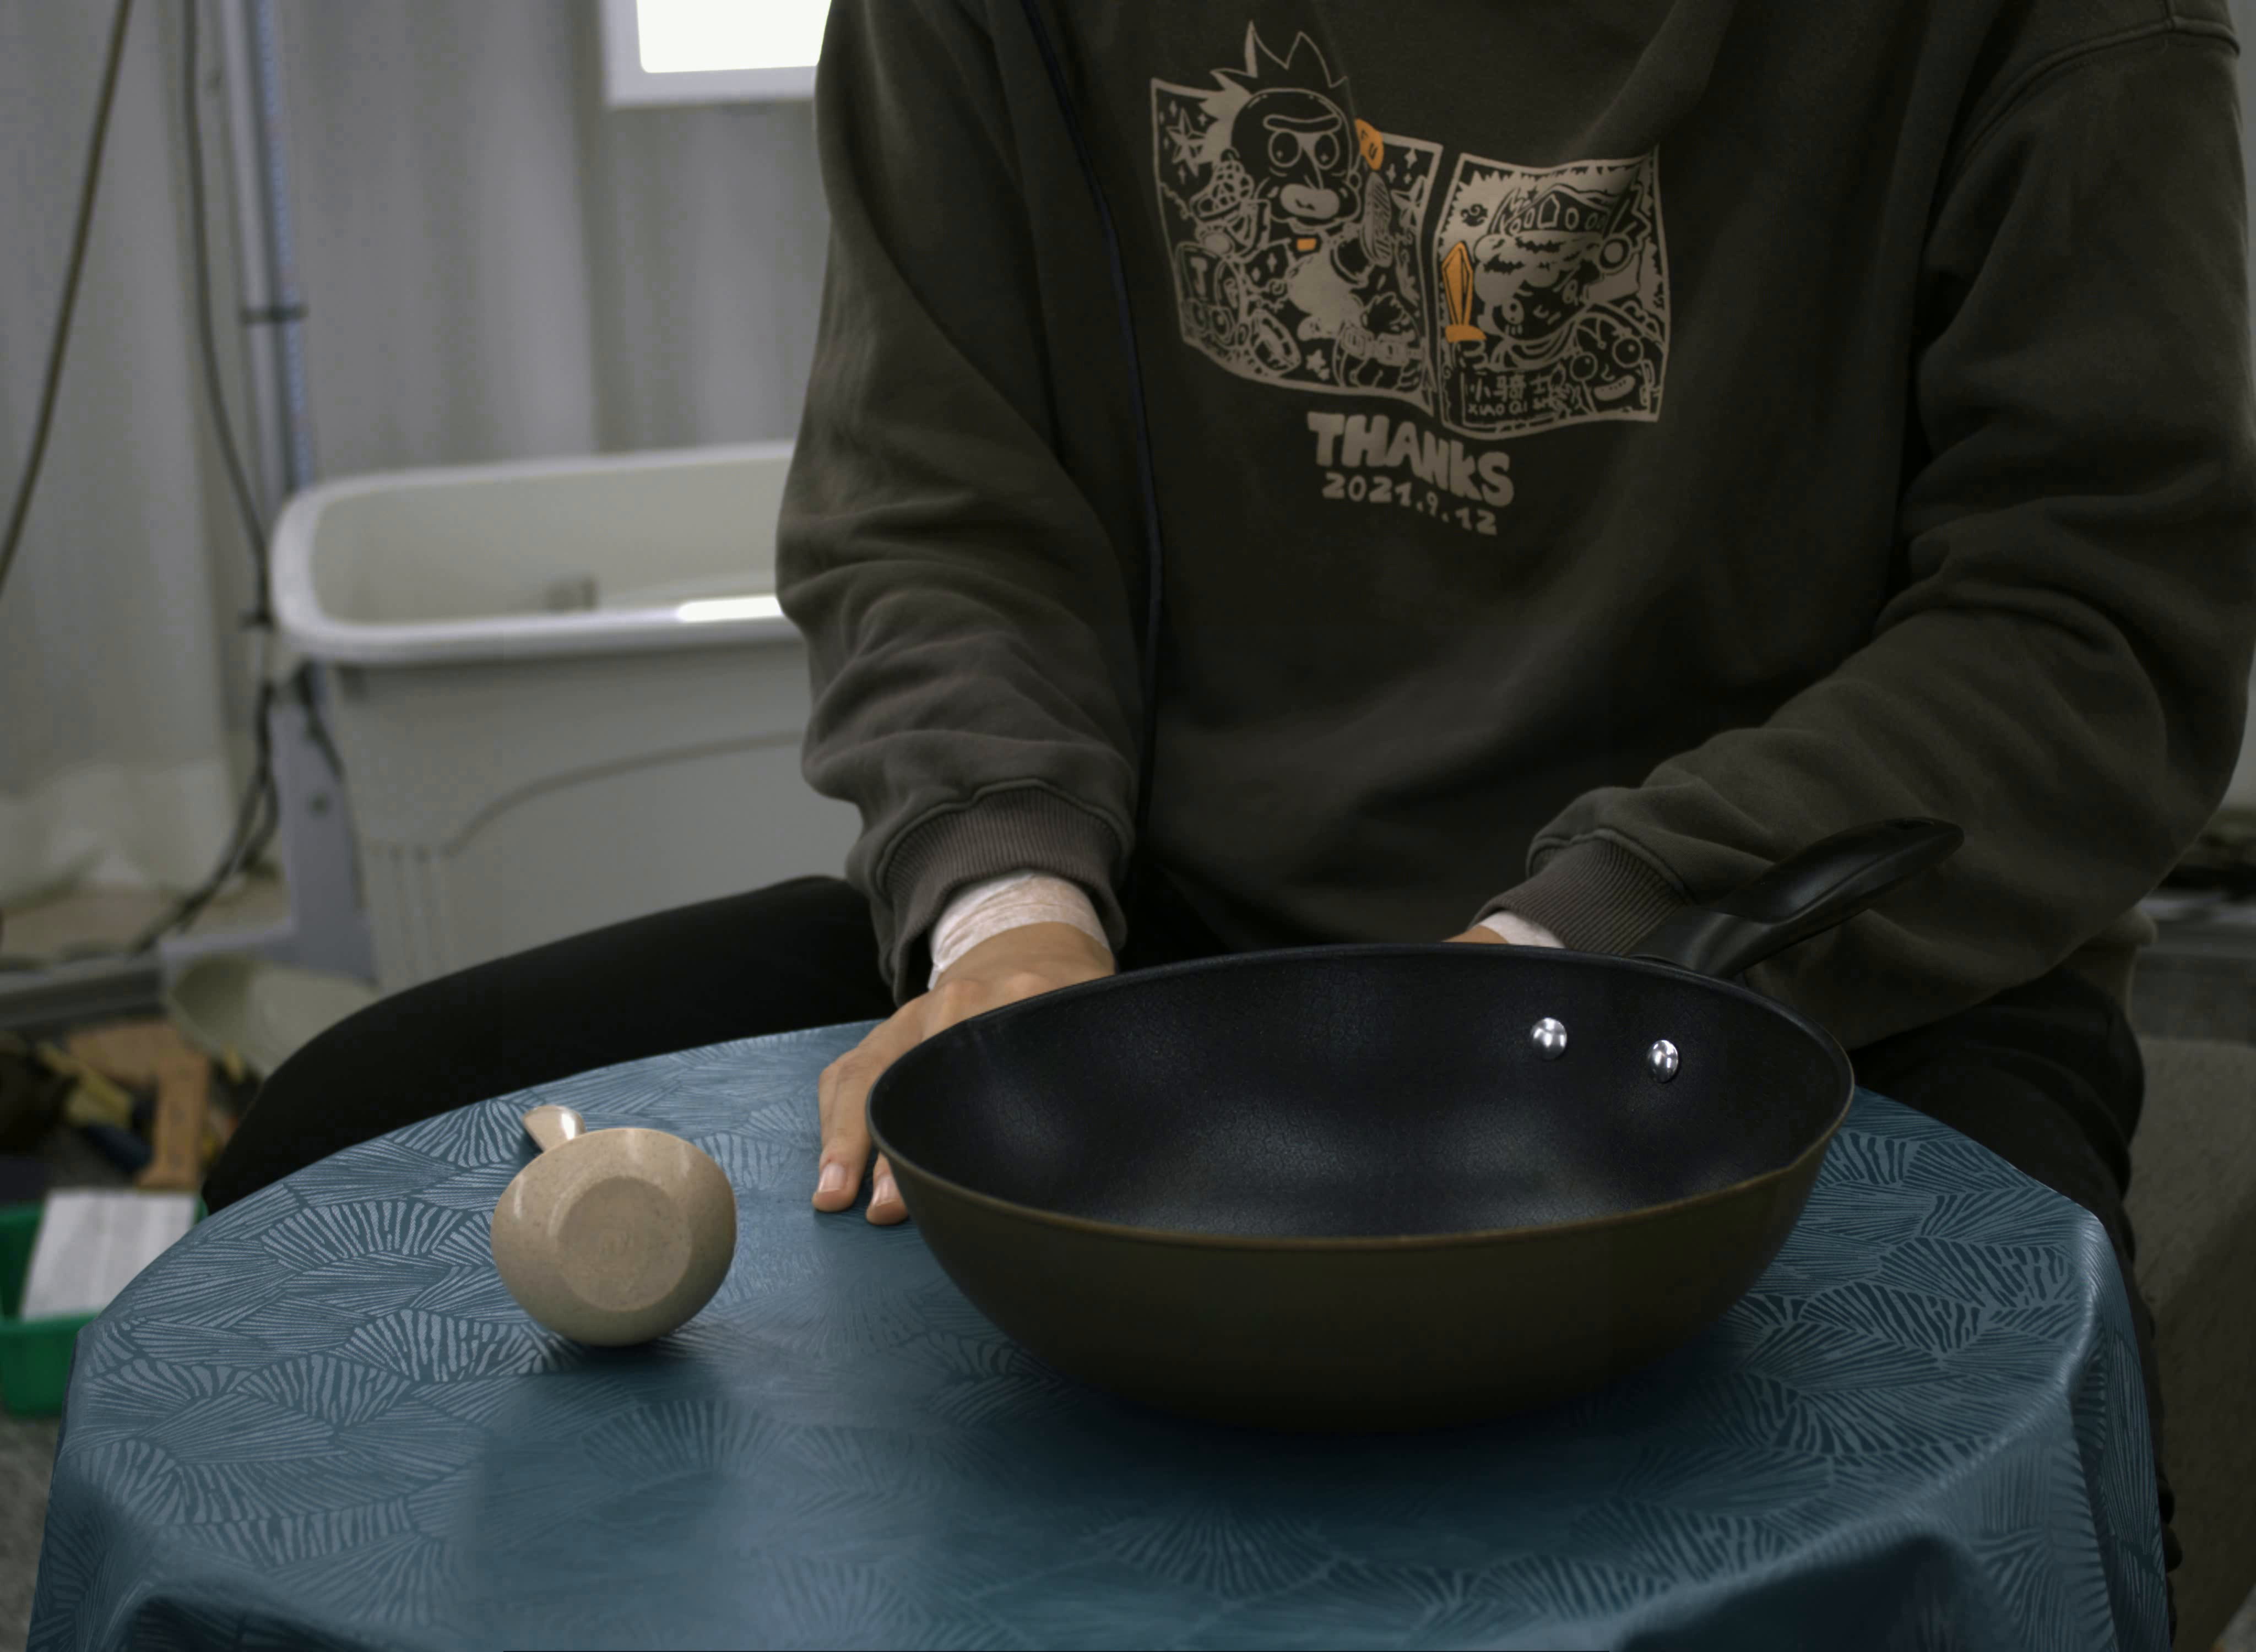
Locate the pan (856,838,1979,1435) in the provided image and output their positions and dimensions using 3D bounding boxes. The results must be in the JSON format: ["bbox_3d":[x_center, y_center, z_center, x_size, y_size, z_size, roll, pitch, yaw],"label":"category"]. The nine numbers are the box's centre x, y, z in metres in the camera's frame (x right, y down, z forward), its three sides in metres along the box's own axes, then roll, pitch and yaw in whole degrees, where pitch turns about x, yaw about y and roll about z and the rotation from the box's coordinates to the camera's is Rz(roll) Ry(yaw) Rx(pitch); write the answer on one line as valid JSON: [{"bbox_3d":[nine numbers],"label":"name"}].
[{"bbox_3d":[0.121,0.089,1.635,0.289,0.086,0.463,9,18,38],"label":"pan"}]

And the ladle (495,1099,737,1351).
[{"bbox_3d":[-0.173,0.093,1.695,0.072,0.072,0.256,-8,17,-12],"label":"ladle"}]
